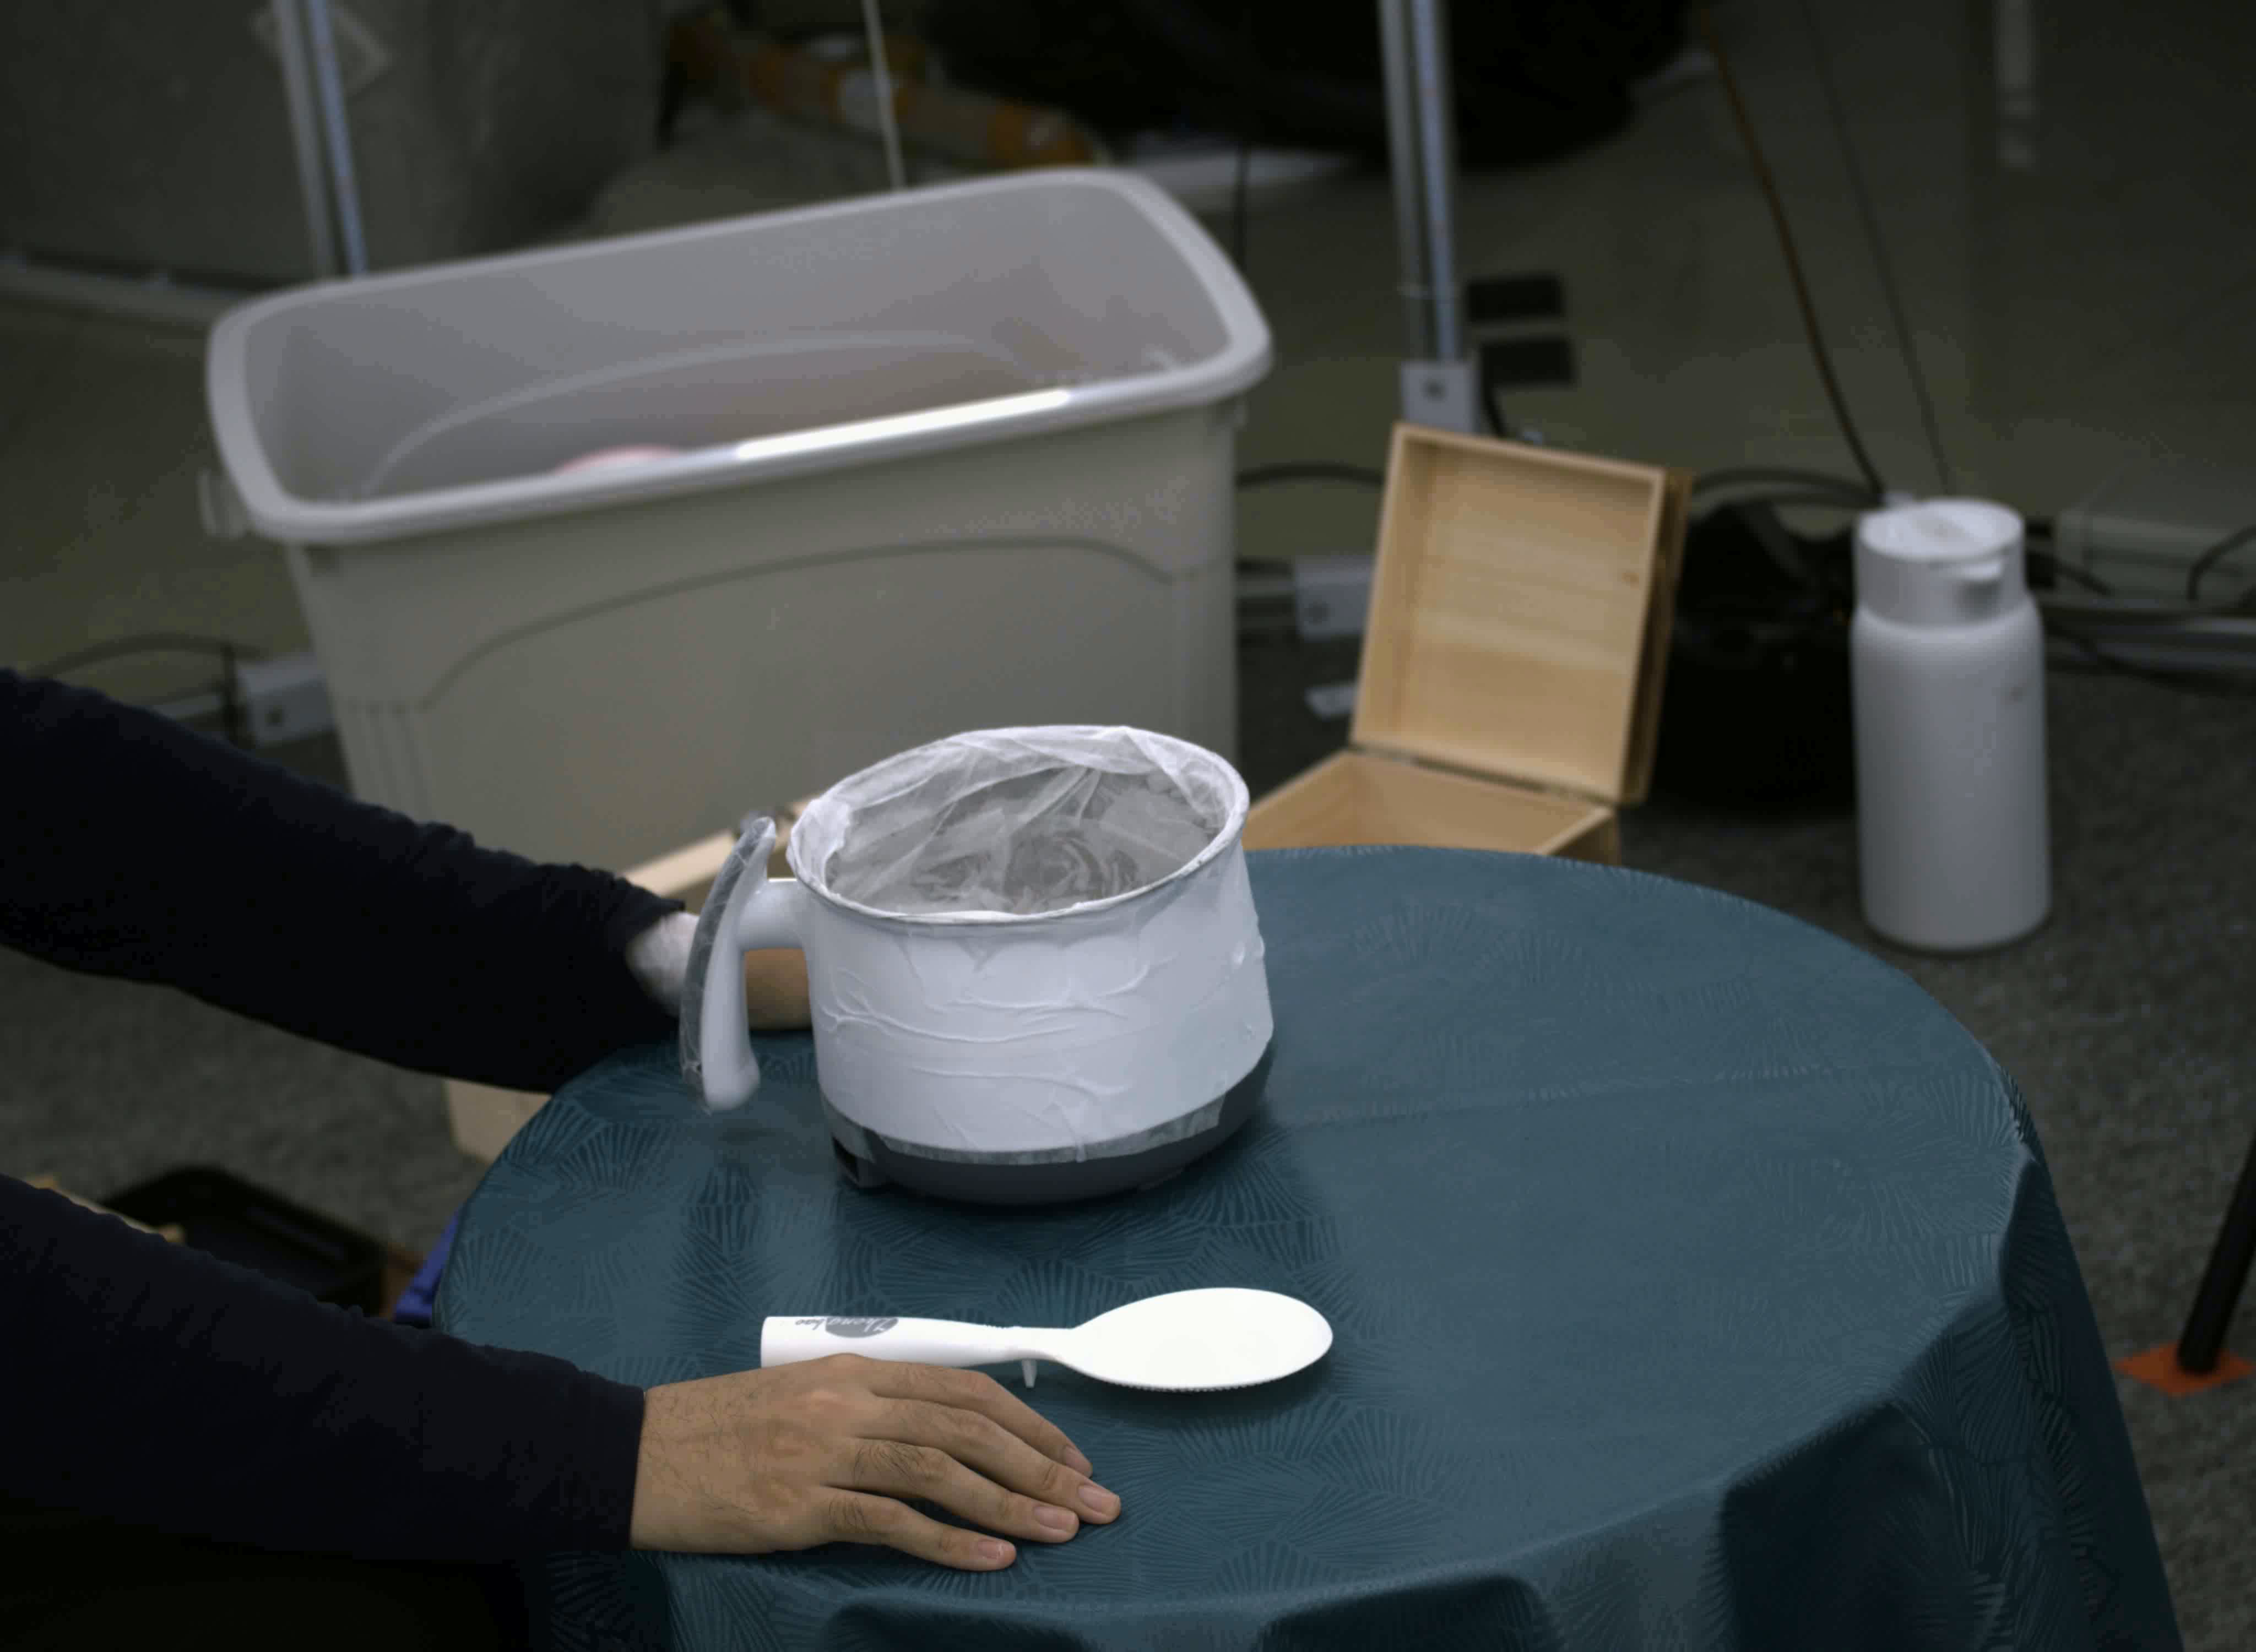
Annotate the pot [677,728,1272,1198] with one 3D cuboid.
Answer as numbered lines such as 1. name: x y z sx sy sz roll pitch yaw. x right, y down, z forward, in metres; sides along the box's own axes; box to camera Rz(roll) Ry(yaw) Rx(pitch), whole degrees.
1. pot: -0.062 0.055 2.180 0.233 0.138 0.176 -2 23 8

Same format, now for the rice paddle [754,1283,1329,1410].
1. rice paddle: -0.030 0.185 2.025 0.205 0.030 0.068 -4 27 7
